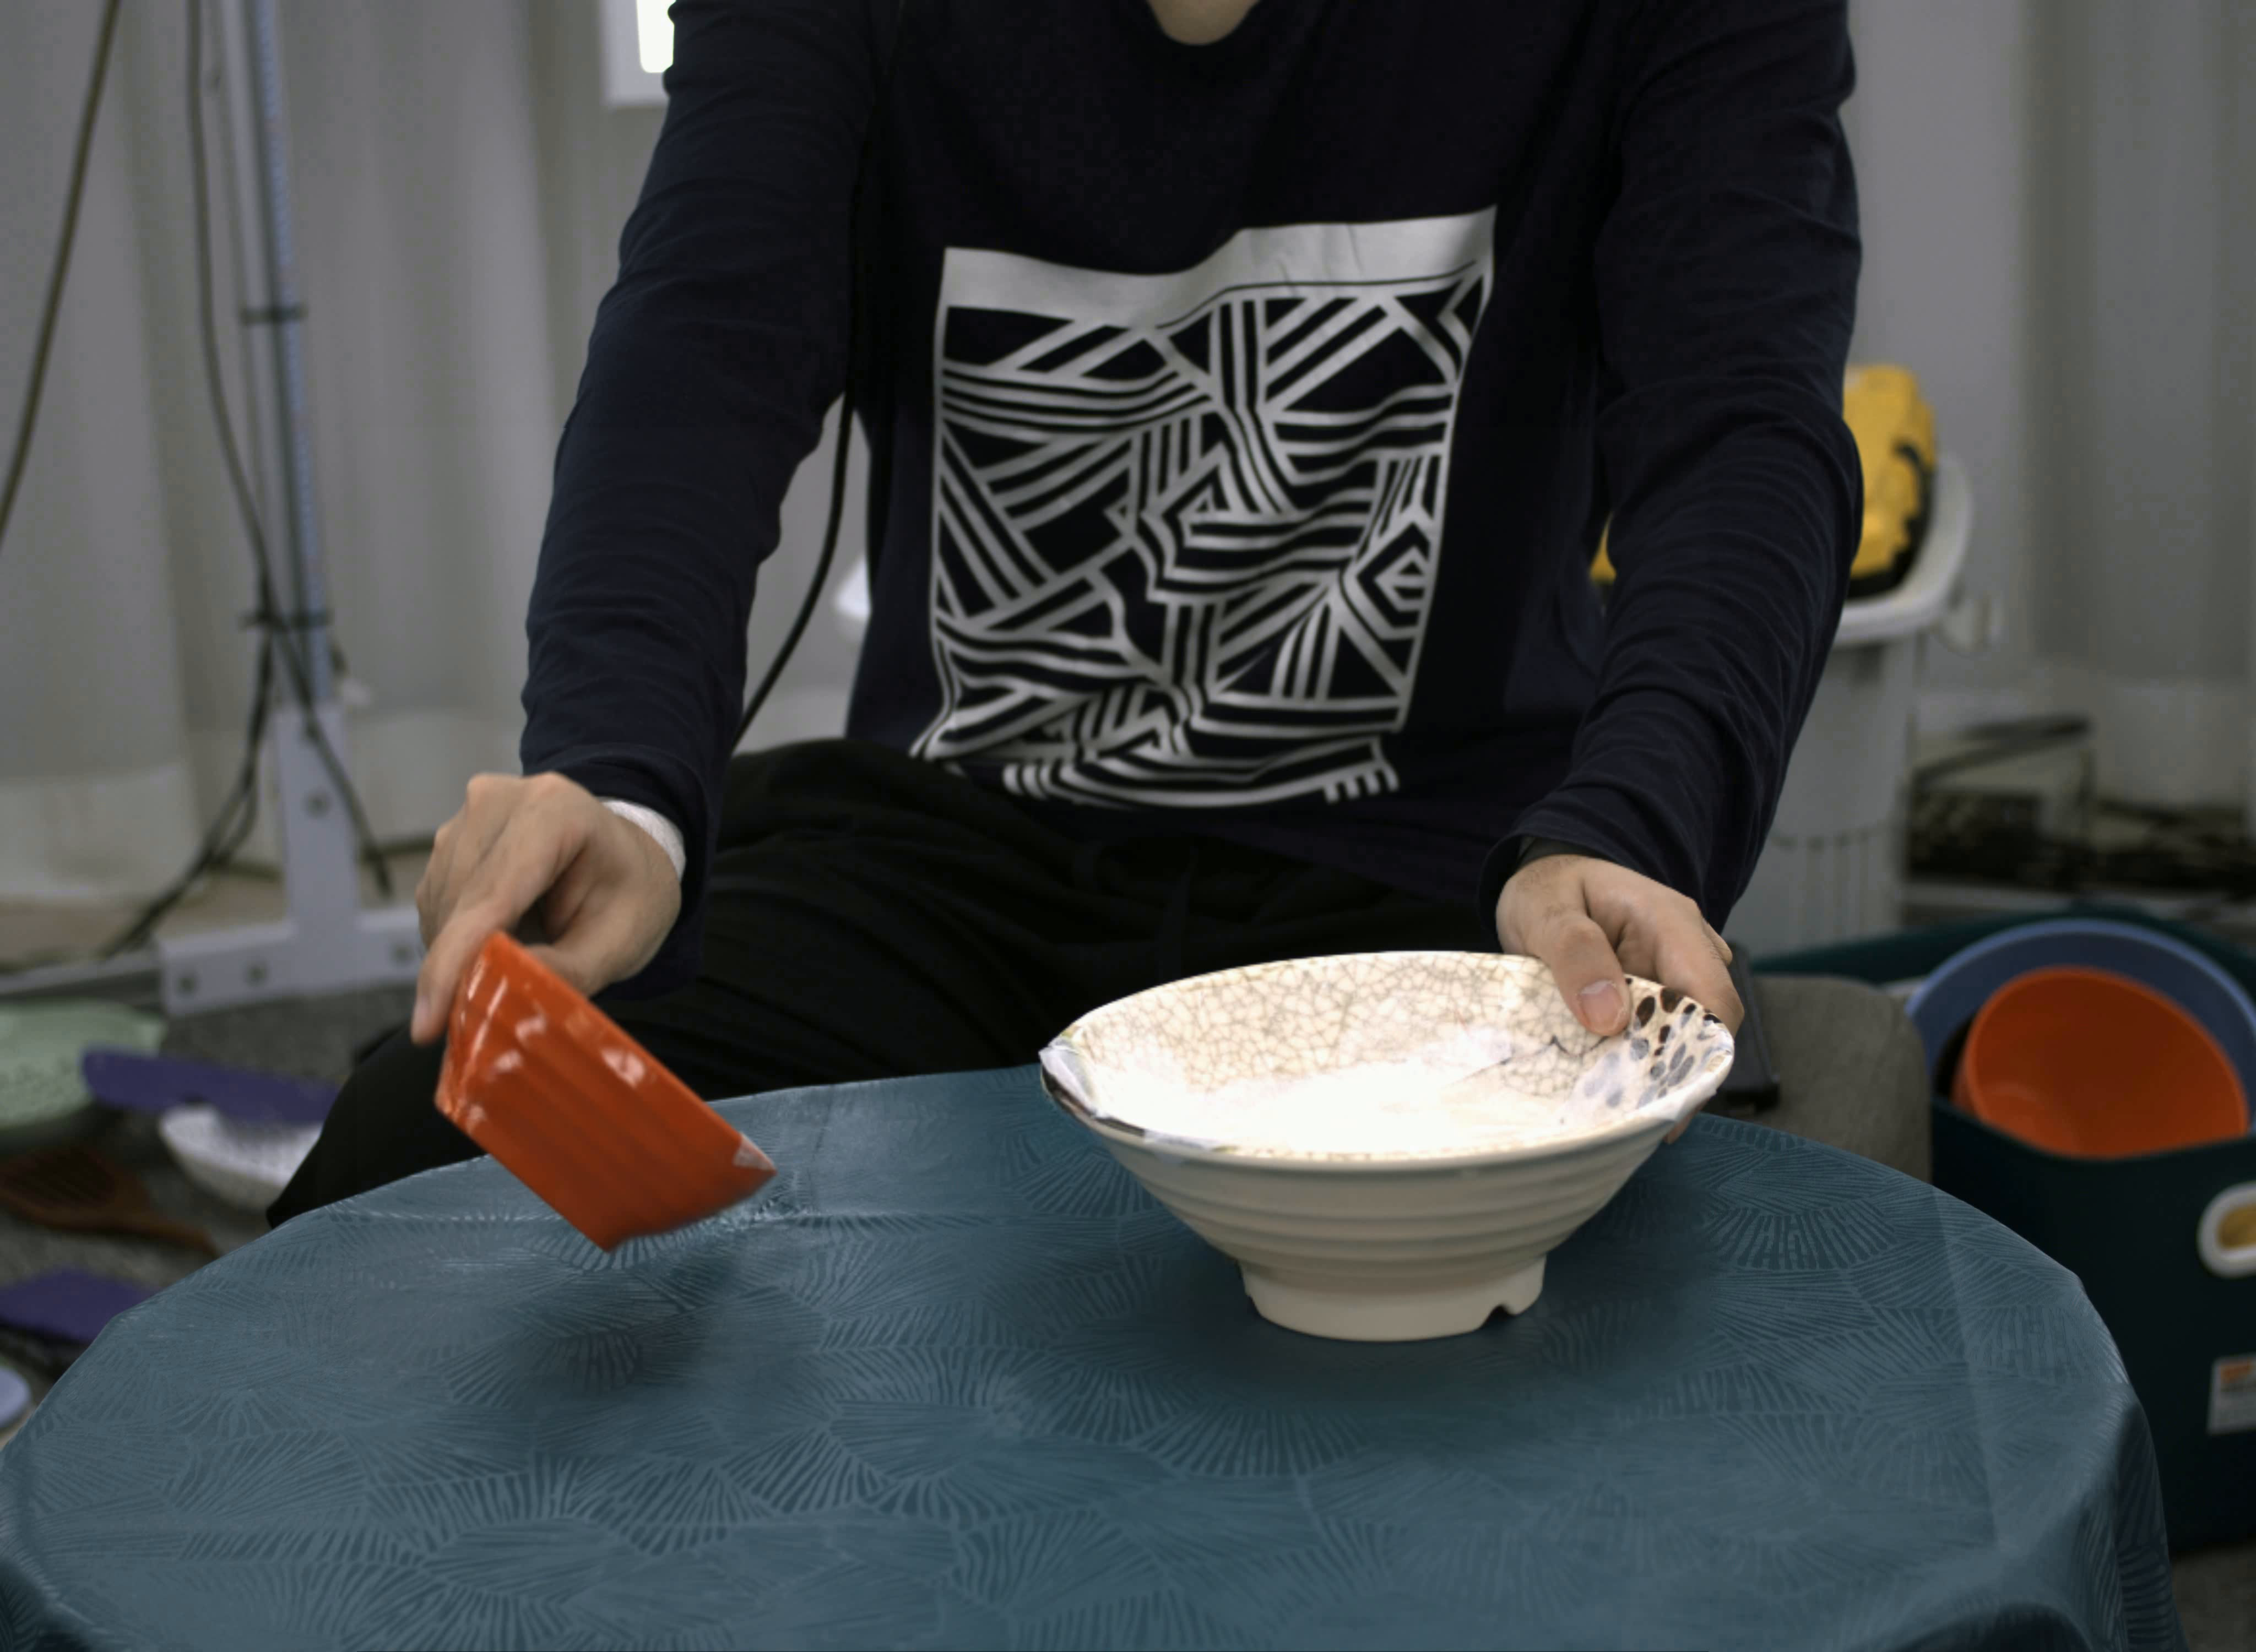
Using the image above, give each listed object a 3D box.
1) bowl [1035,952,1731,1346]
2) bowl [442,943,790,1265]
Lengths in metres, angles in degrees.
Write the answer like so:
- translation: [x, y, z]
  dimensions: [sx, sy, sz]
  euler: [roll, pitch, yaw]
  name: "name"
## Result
- translation: [0.075, 0.102, 1.605]
  dimensions: [0.203, 0.077, 0.205]
  euler: [-2, 14, 0]
  name: "bowl"
- translation: [-0.156, 0.087, 1.581]
  dimensions: [0.119, 0.051, 0.118]
  euler: [37, -5, 4]
  name: "bowl"
